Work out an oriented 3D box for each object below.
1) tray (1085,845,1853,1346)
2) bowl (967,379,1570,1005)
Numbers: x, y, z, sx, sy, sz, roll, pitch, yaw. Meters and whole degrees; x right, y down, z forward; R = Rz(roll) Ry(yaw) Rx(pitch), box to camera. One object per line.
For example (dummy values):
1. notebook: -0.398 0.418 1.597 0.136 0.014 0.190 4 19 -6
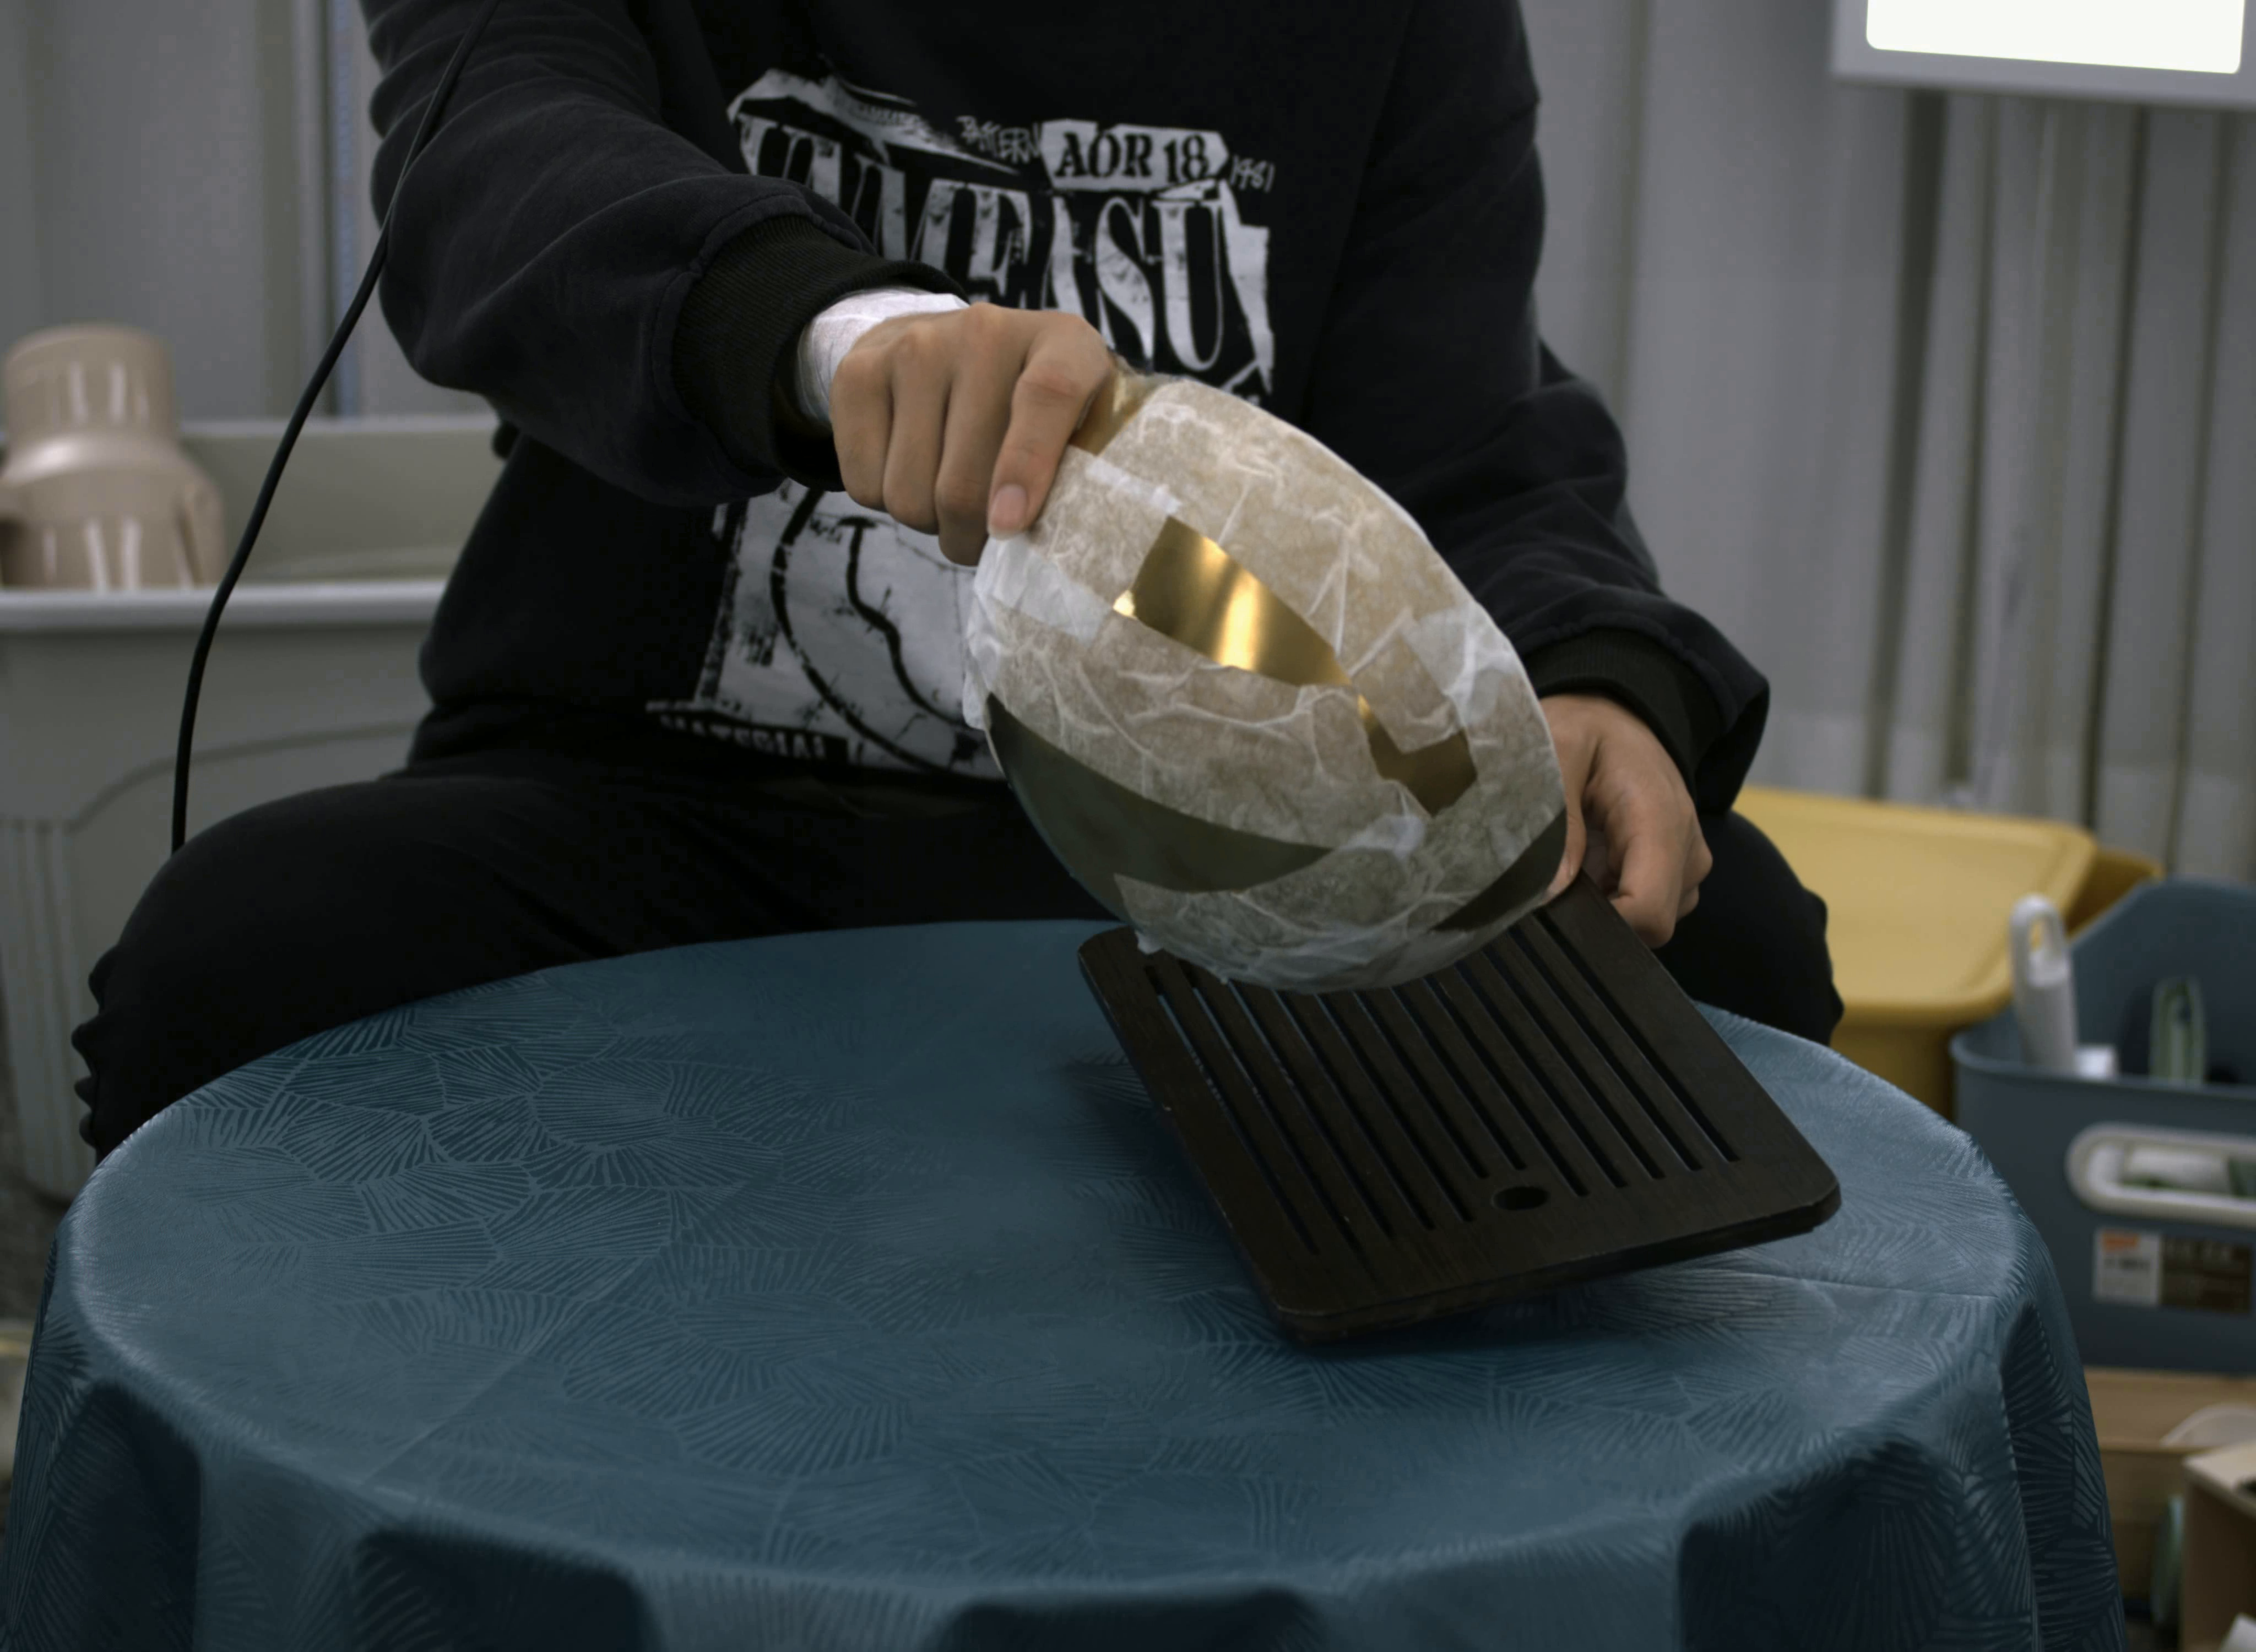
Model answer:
1. tray: 0.098 0.079 1.634 0.170 0.019 0.303 -11 22 -9
2. bowl: 0.023 -0.019 1.531 0.212 0.217 0.094 18 52 45
